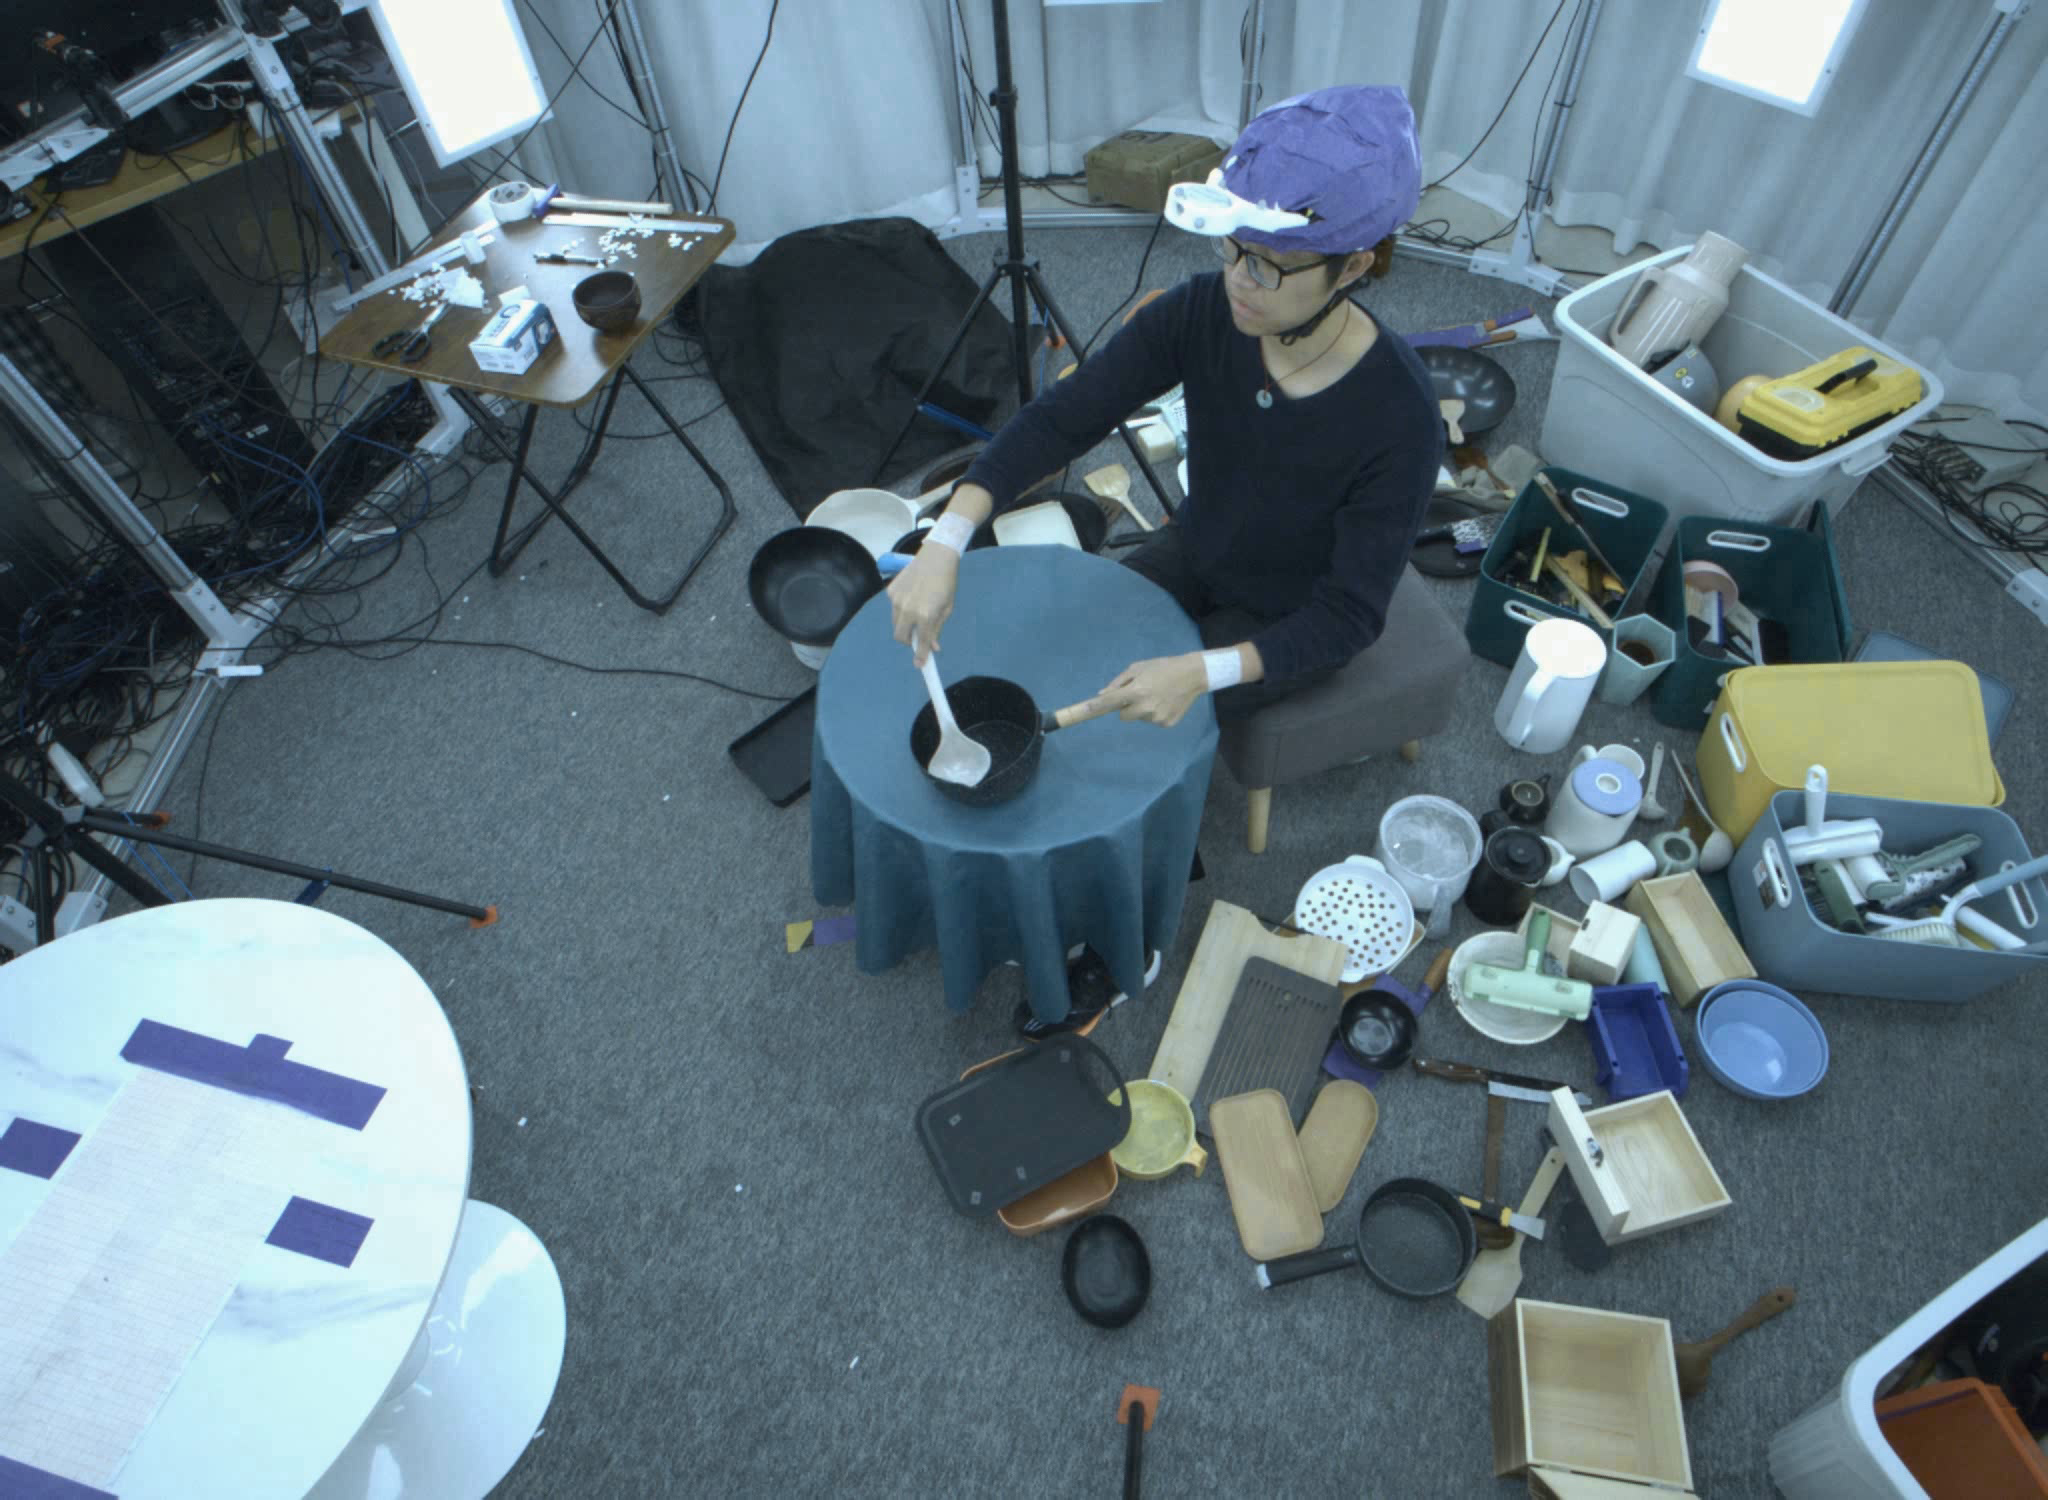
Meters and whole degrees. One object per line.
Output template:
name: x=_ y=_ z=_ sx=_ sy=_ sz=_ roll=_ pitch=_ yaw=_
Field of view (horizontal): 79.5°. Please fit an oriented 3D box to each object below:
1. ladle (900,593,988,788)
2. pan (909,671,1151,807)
ladle: x=-0.125 y=-0.078 z=1.674 sx=0.089 sy=0.277 sz=0.069 roll=-15 pitch=19 yaw=10
pan: x=0.013 y=-0.027 z=1.712 sx=0.341 sy=0.110 sz=0.205 roll=-12 pitch=52 yaw=7
